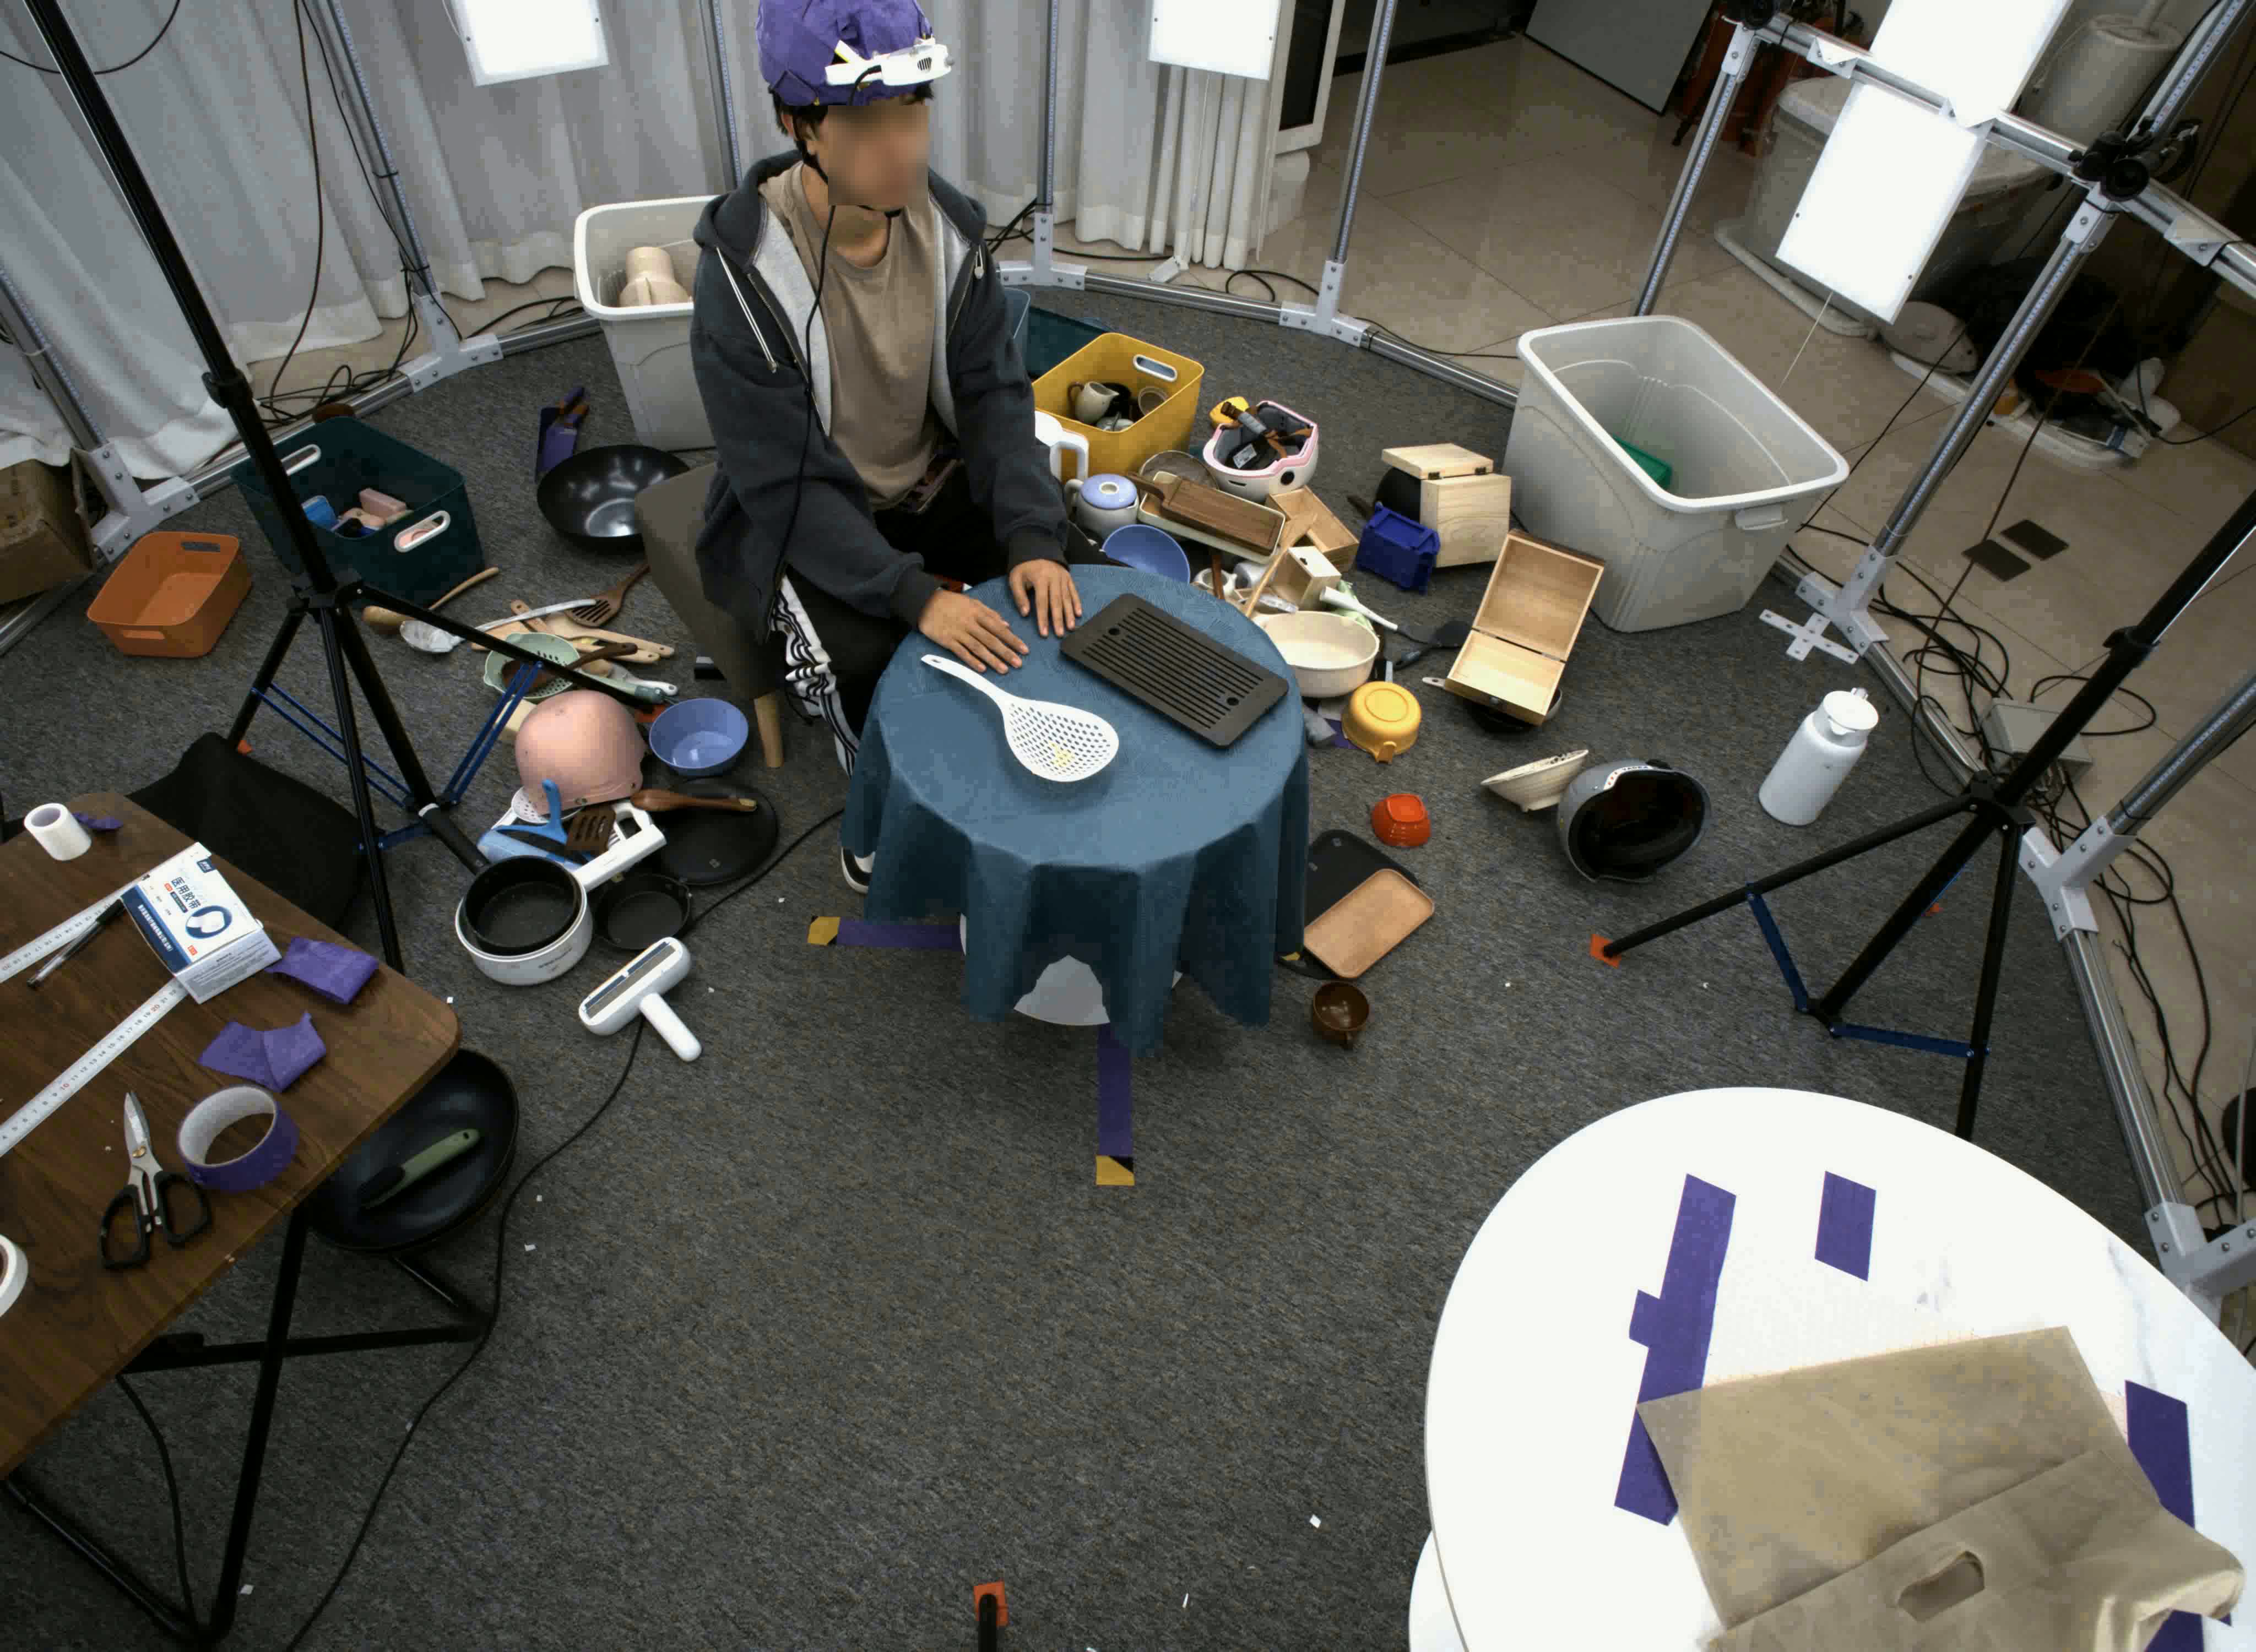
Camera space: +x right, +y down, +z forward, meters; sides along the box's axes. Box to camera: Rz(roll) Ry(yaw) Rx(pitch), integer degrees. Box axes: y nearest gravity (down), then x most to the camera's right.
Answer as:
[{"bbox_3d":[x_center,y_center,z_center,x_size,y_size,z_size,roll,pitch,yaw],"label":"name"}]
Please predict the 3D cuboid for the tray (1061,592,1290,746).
[{"bbox_3d":[0.067,-0.229,1.859,0.310,0.018,0.172,33,55,23],"label":"tray"}]

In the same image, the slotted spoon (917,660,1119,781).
[{"bbox_3d":[-0.164,-0.160,1.767,0.353,0.049,0.138,36,58,25],"label":"slotted spoon"}]
